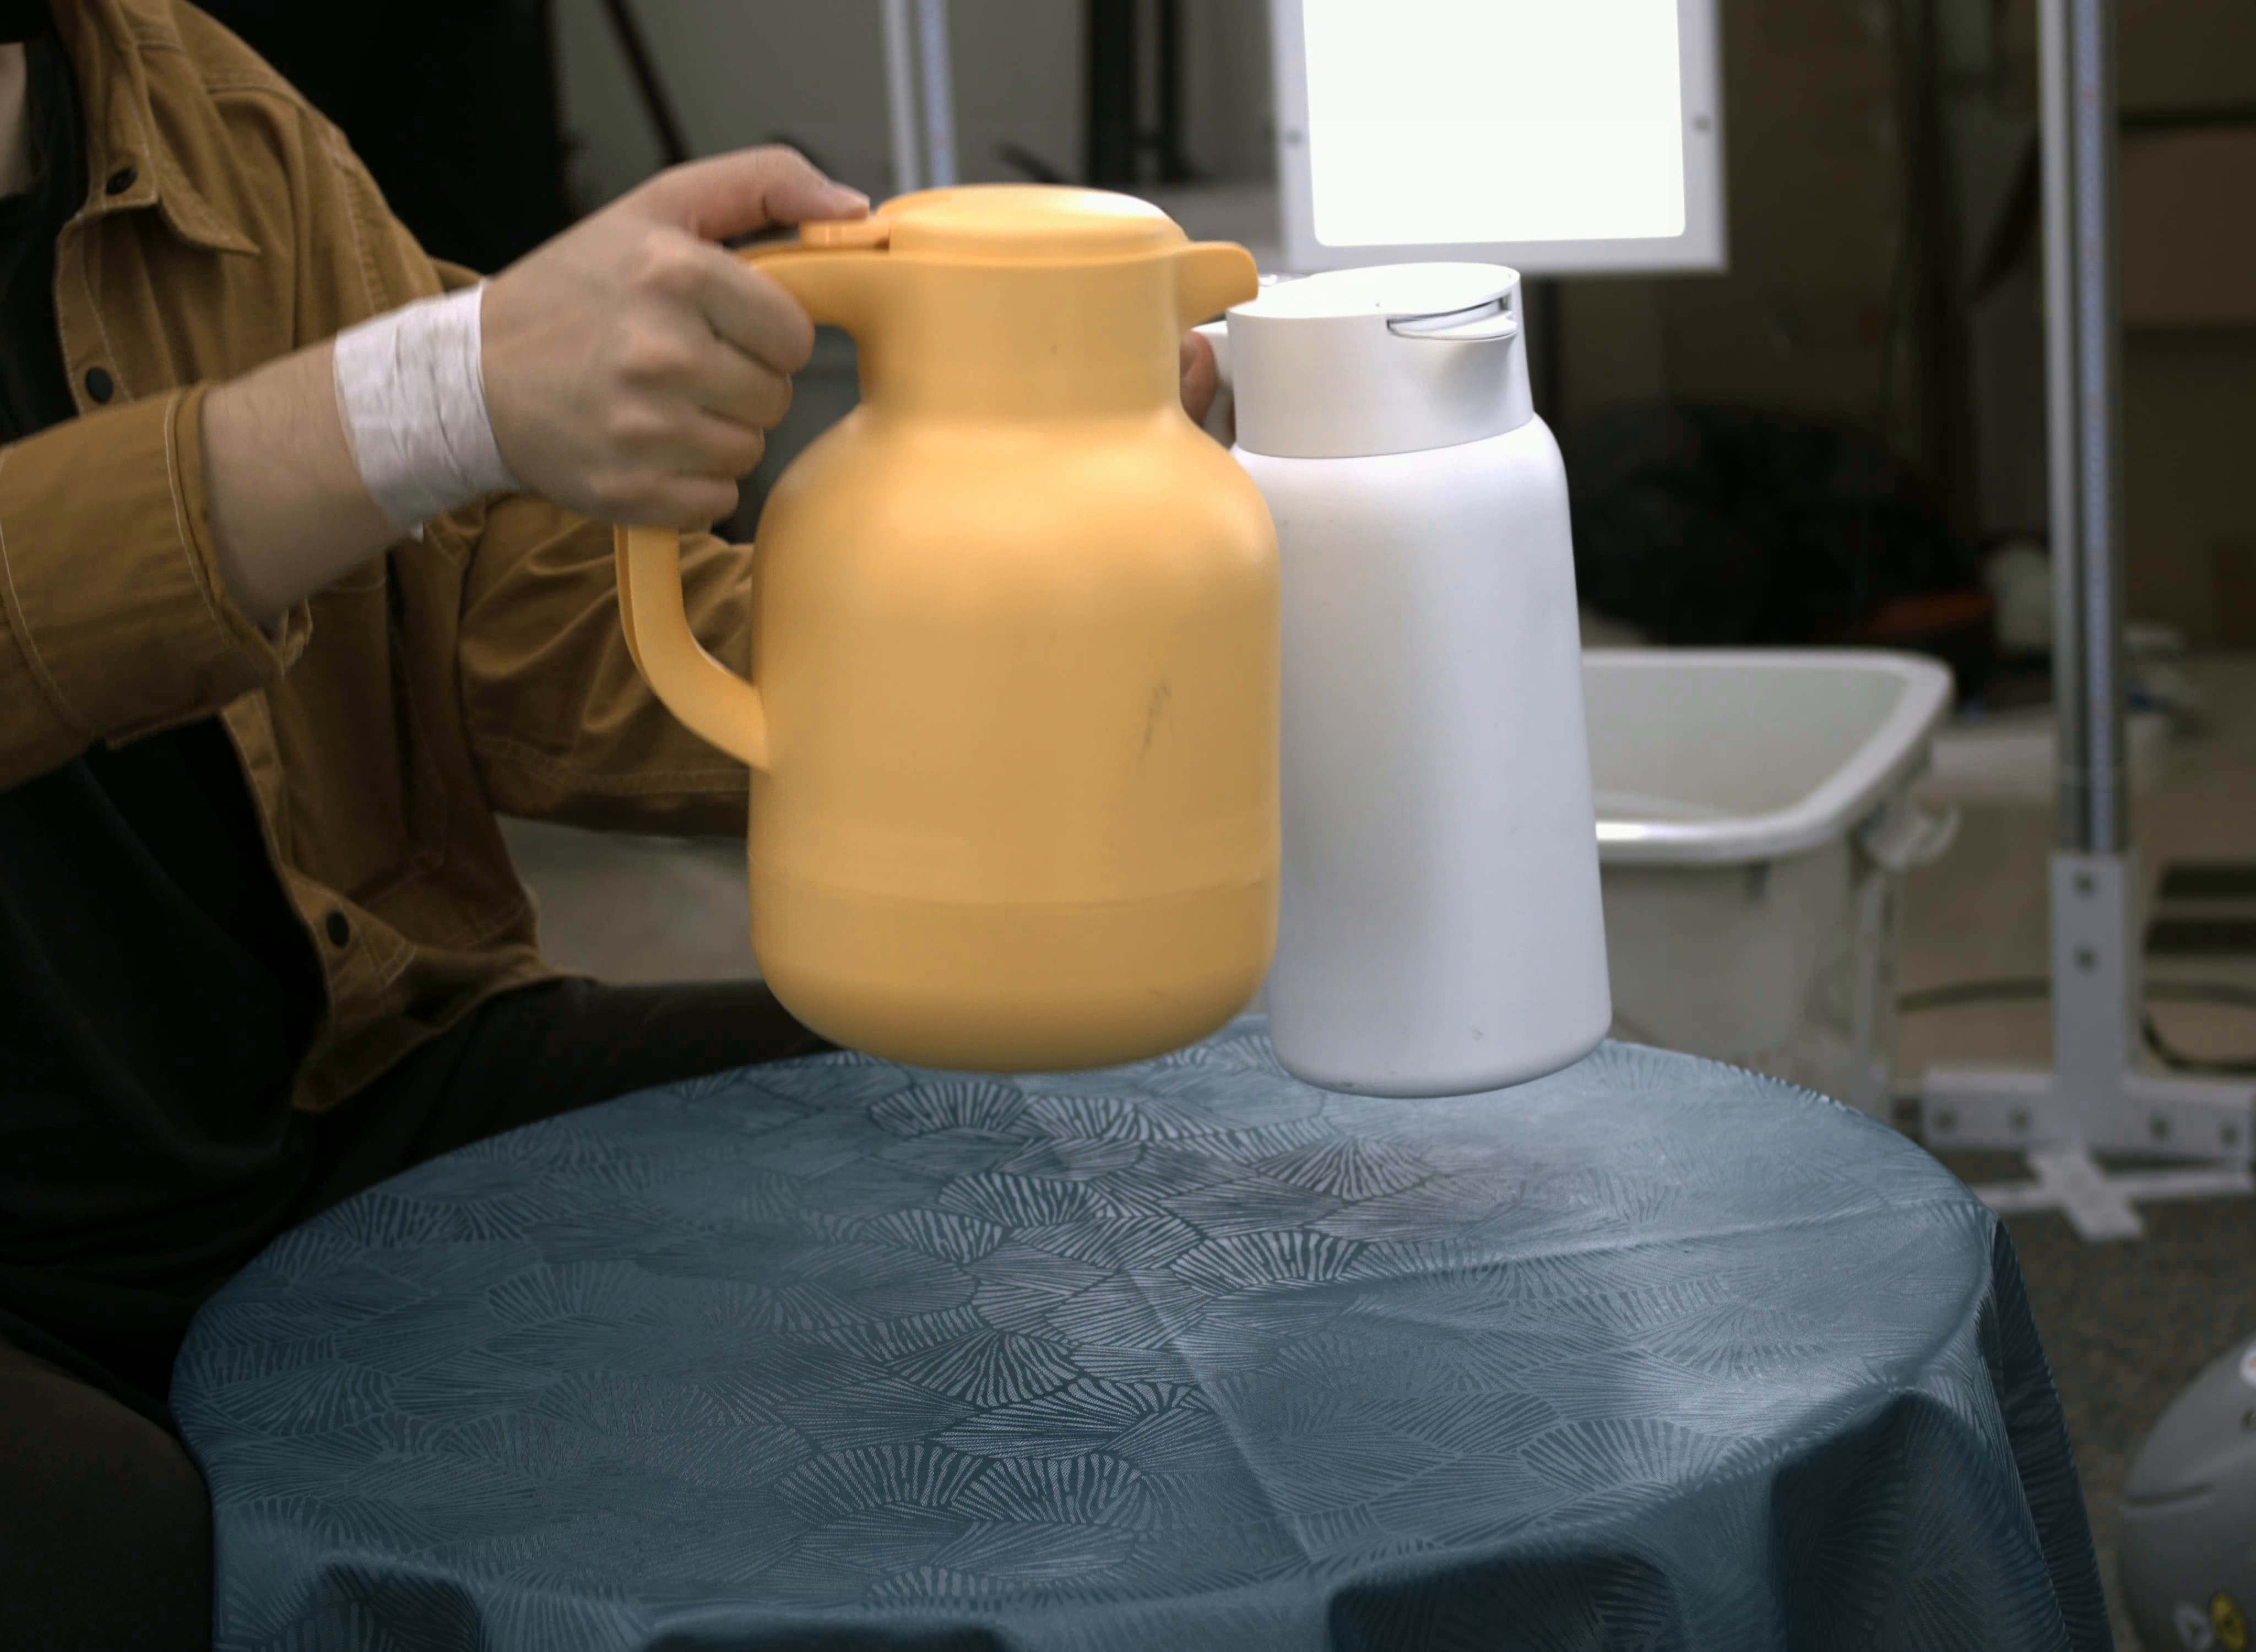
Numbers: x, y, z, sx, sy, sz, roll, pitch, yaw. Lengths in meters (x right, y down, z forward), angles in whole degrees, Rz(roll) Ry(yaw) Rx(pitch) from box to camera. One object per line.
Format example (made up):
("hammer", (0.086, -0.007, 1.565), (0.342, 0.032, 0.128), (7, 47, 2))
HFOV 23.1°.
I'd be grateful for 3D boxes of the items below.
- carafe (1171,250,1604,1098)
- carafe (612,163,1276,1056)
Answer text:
("carafe", (0.080, -0.053, 1.847), (0.121, 0.270, 0.176), (-18, 18, -32))
("carafe", (-0.055, -0.069, 1.659), (0.200, 0.261, 0.164), (0, 10, -12))
